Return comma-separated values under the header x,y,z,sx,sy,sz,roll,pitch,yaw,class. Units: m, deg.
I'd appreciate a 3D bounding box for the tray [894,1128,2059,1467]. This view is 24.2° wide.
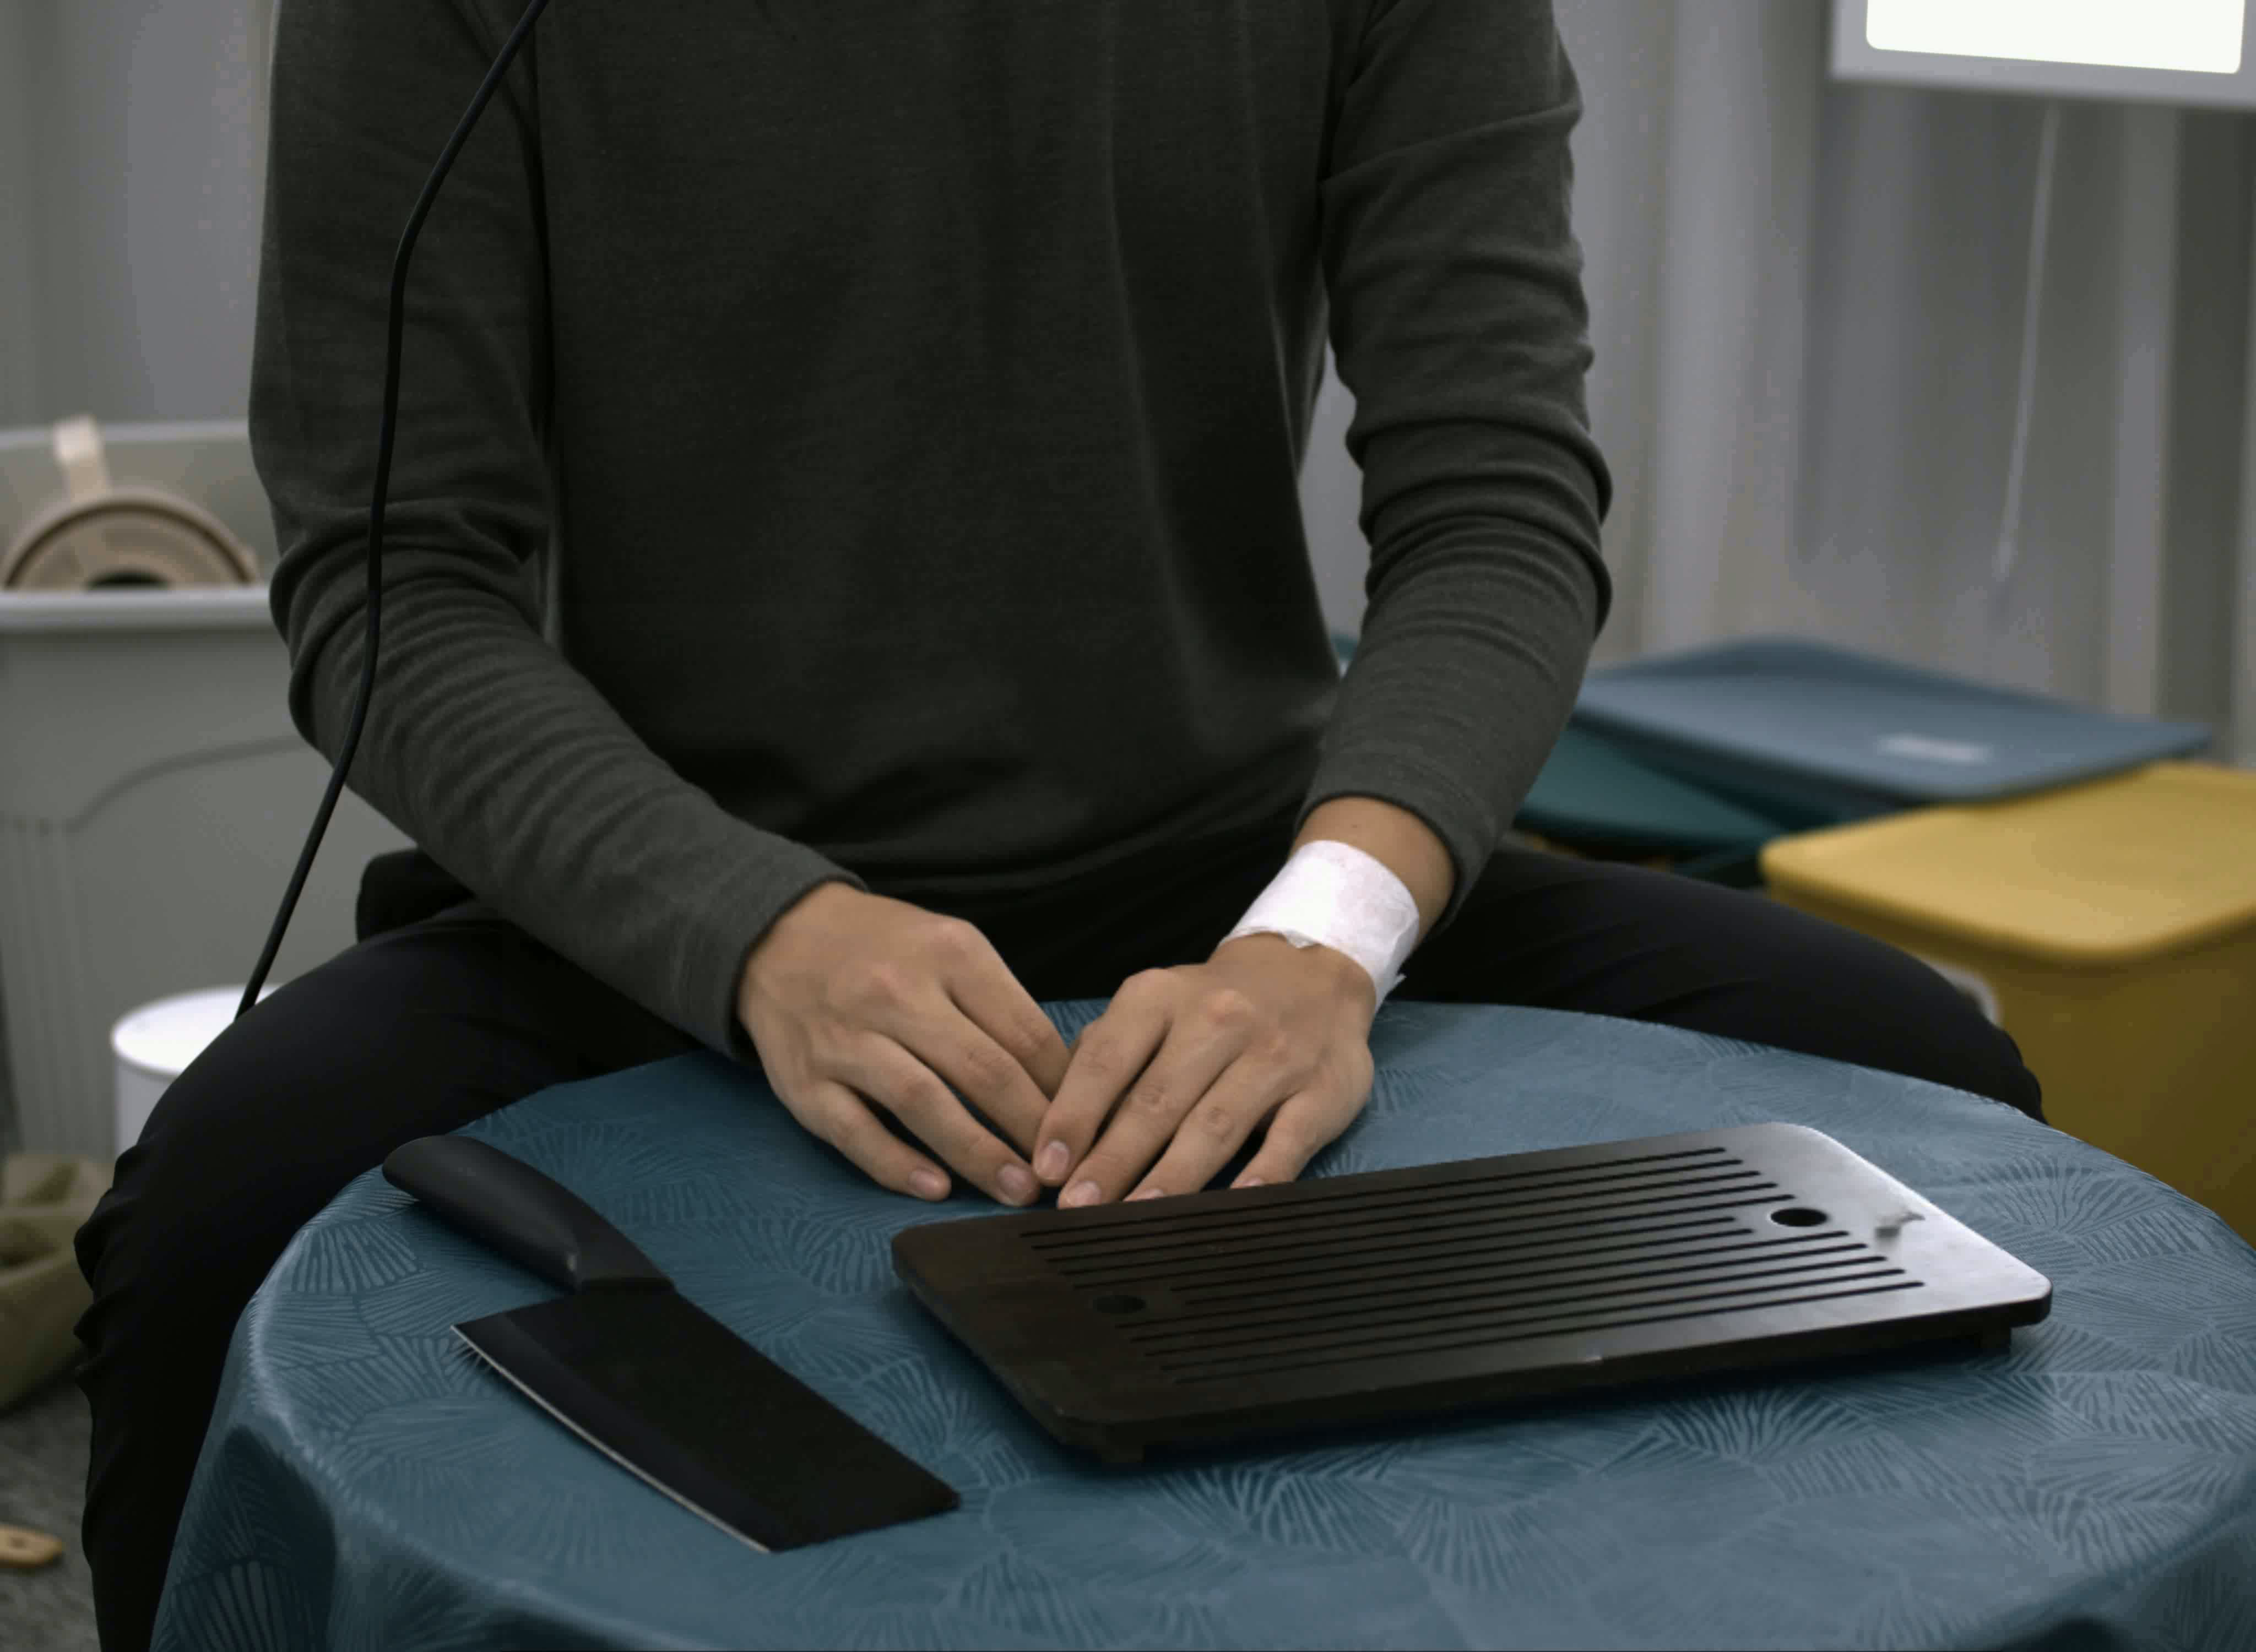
x,y,z,sx,sy,sz,roll,pitch,yaw,class
0.099,0.133,1.518,0.307,0.019,0.168,-5,15,-20,tray

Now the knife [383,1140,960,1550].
x,y,z,sx,sy,sz,roll,pitch,yaw,class
-0.145,0.143,1.483,0.081,0.021,0.298,-9,20,-27,knife
